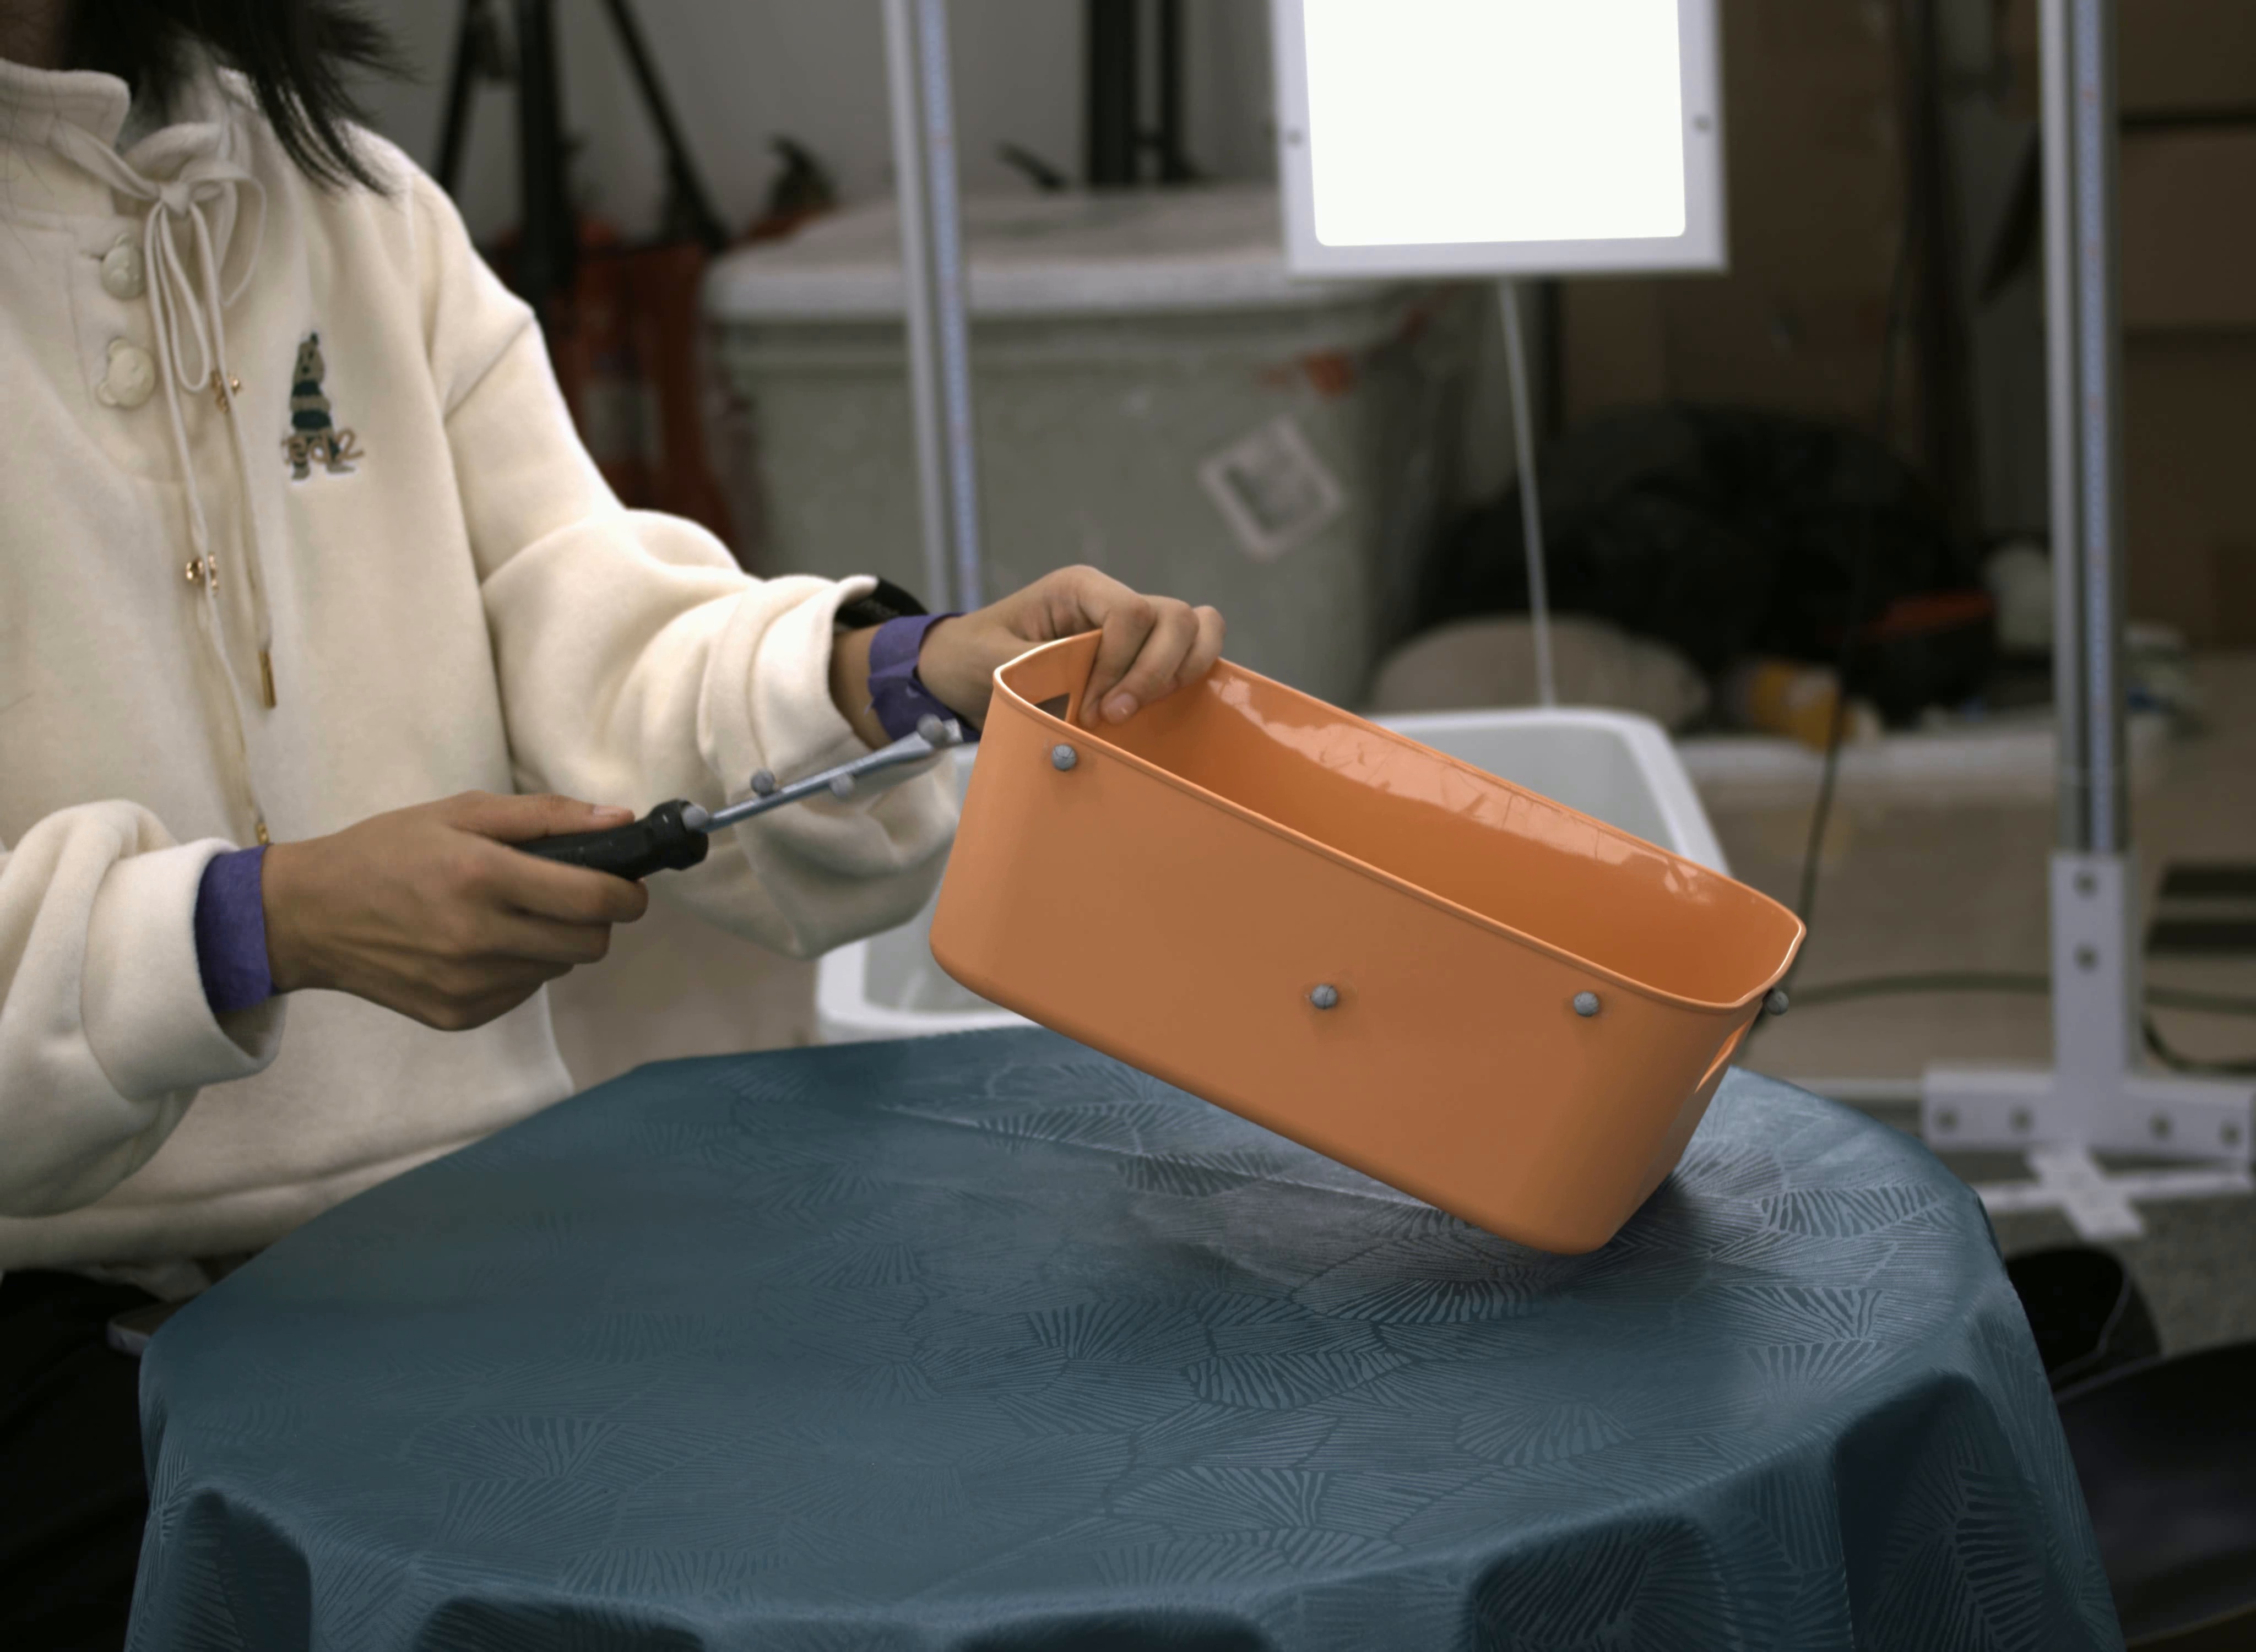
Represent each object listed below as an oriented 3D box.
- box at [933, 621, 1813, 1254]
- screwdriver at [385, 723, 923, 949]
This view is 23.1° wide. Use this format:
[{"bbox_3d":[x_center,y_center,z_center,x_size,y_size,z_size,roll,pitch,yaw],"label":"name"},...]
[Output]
[{"bbox_3d":[0.077,0.036,1.827,0.275,0.103,0.196,24,15,13],"label":"box"},{"bbox_3d":[-0.157,-0.003,1.826,0.200,0.031,0.031,-22,9,16],"label":"screwdriver"}]
